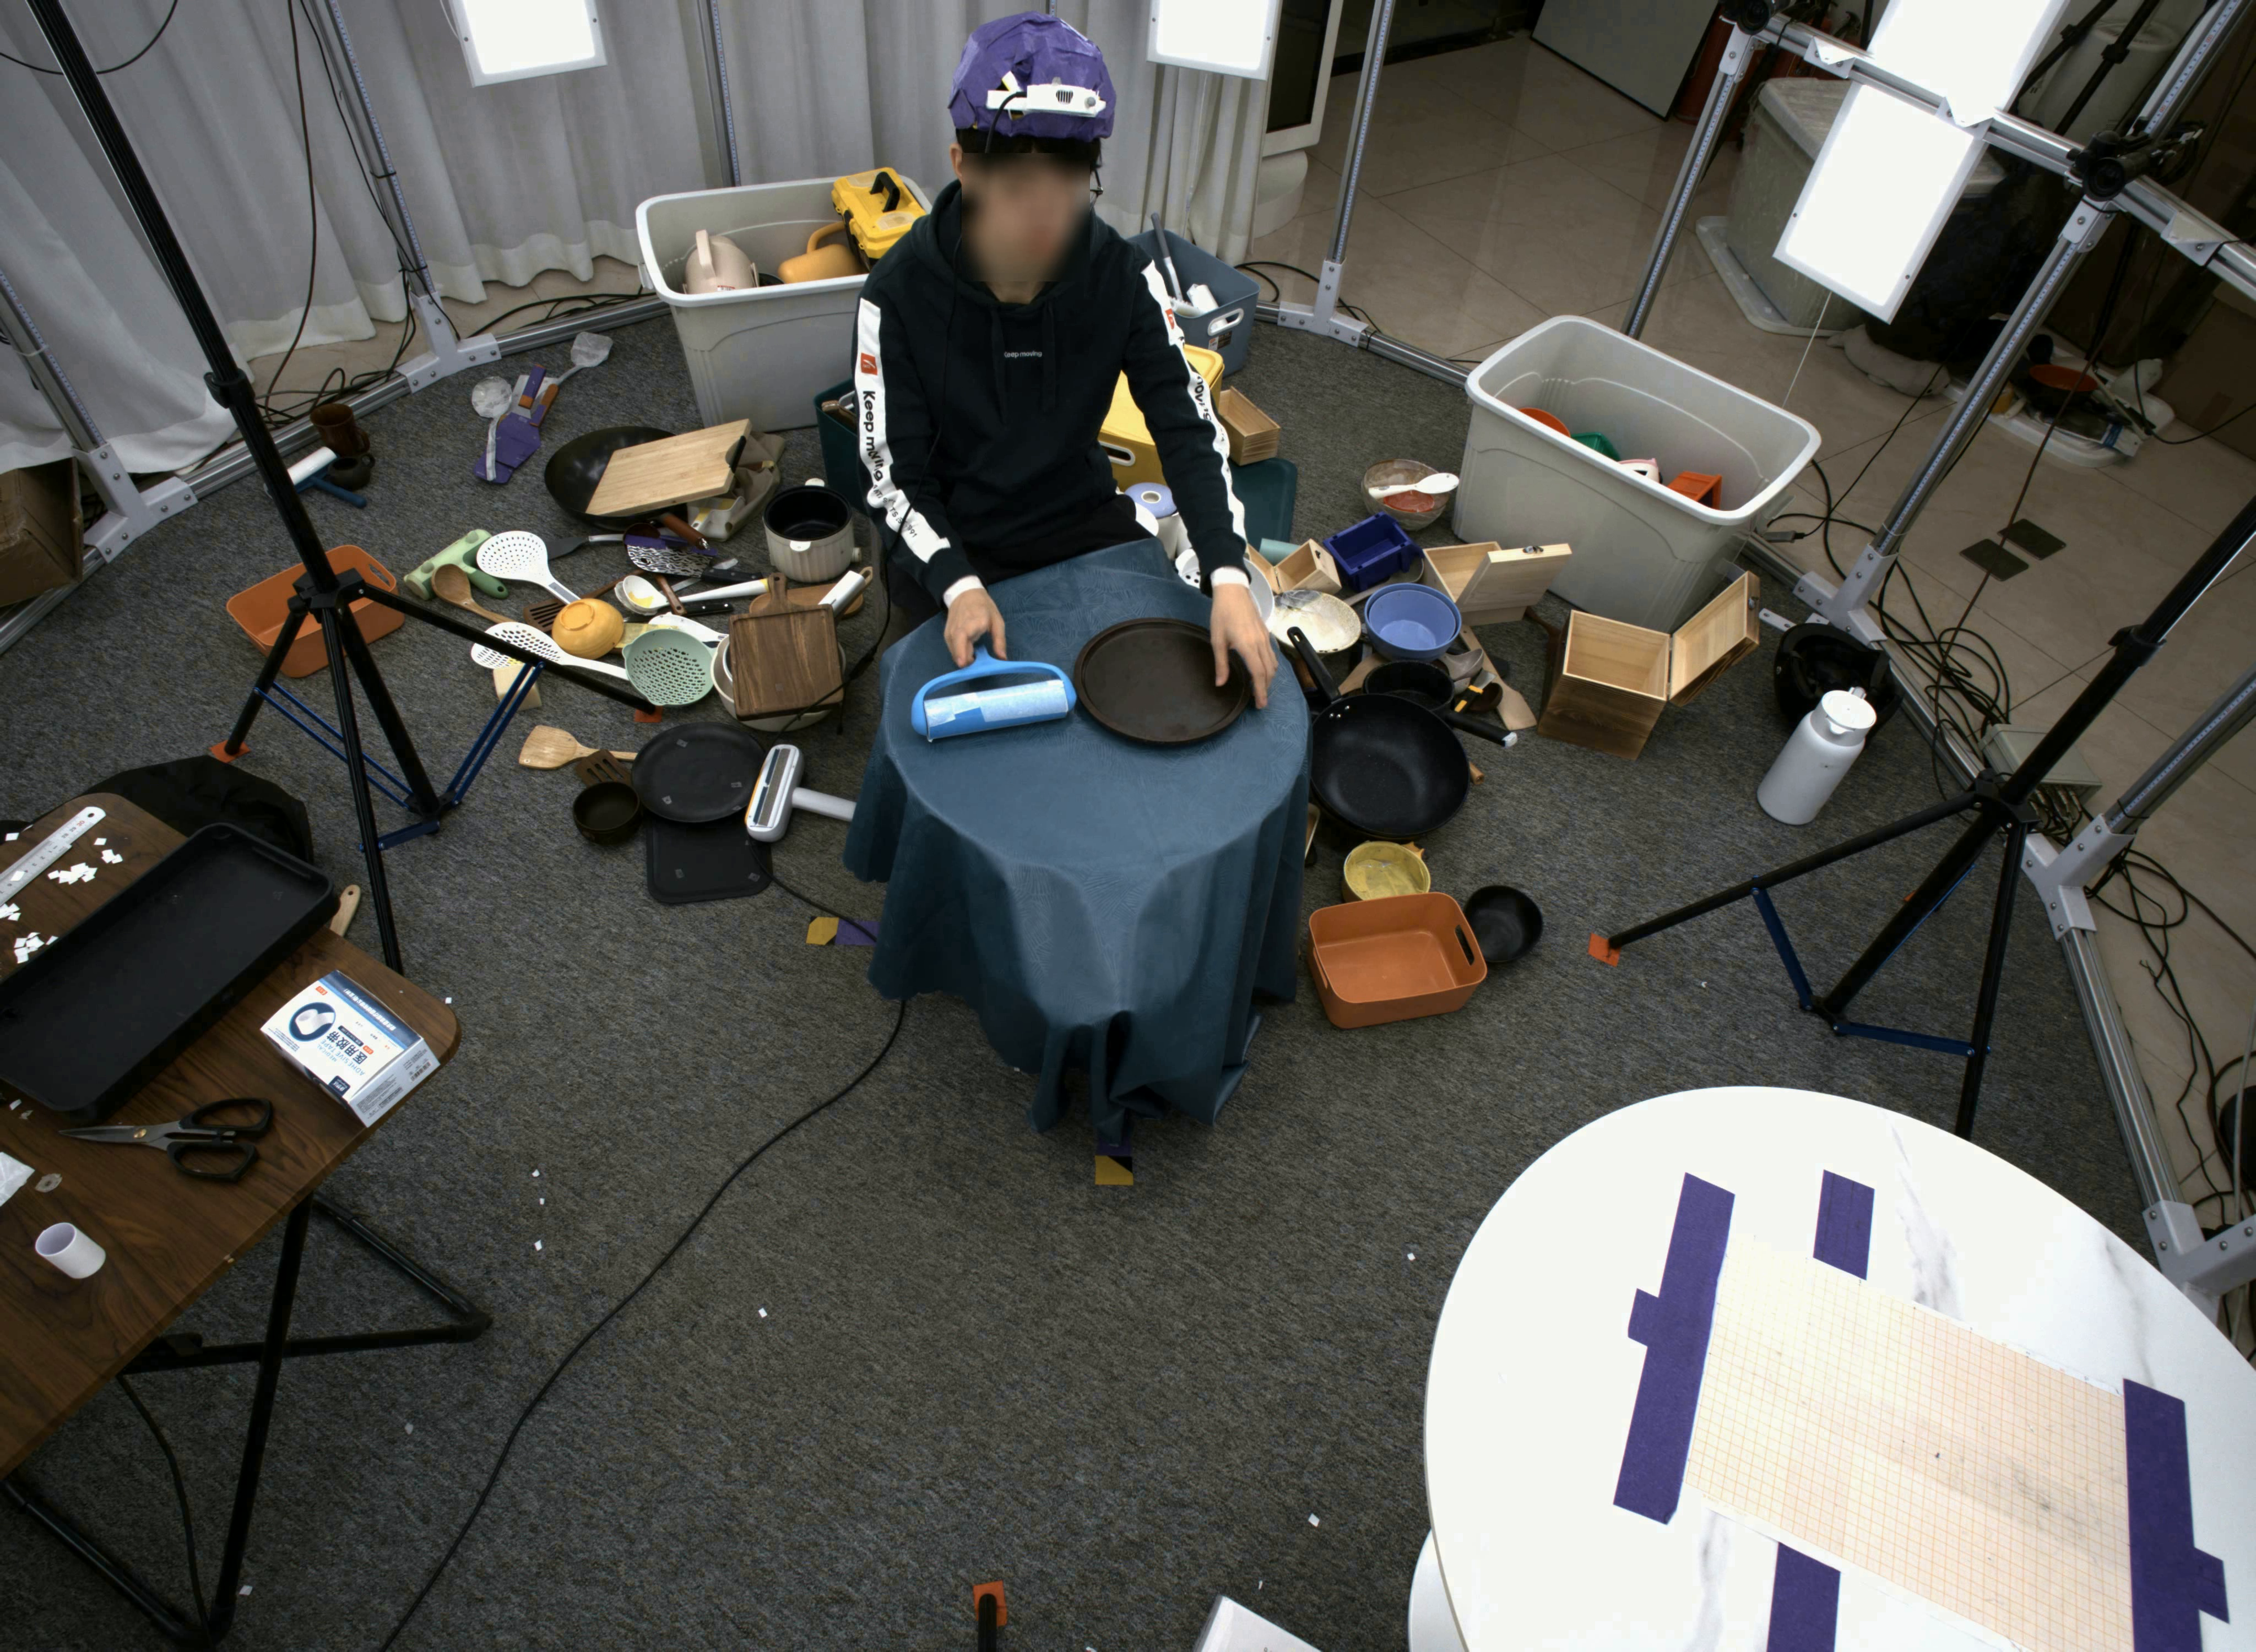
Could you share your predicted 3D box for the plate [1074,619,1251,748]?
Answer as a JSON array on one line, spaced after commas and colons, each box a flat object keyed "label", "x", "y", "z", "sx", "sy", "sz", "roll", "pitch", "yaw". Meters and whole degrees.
[{"label": "plate", "x": 0.049, "y": -0.206, "z": 1.834, "sx": 0.254, "sy": 0.028, "sz": 0.261, "roll": 1, "pitch": 50, "yaw": -2}]

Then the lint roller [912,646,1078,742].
[{"label": "lint roller", "x": -0.199, "y": -0.205, "z": 1.796, "sx": 0.229, "sy": 0.066, "sz": 0.184, "roll": -14, "pitch": 53, "yaw": -13}]
